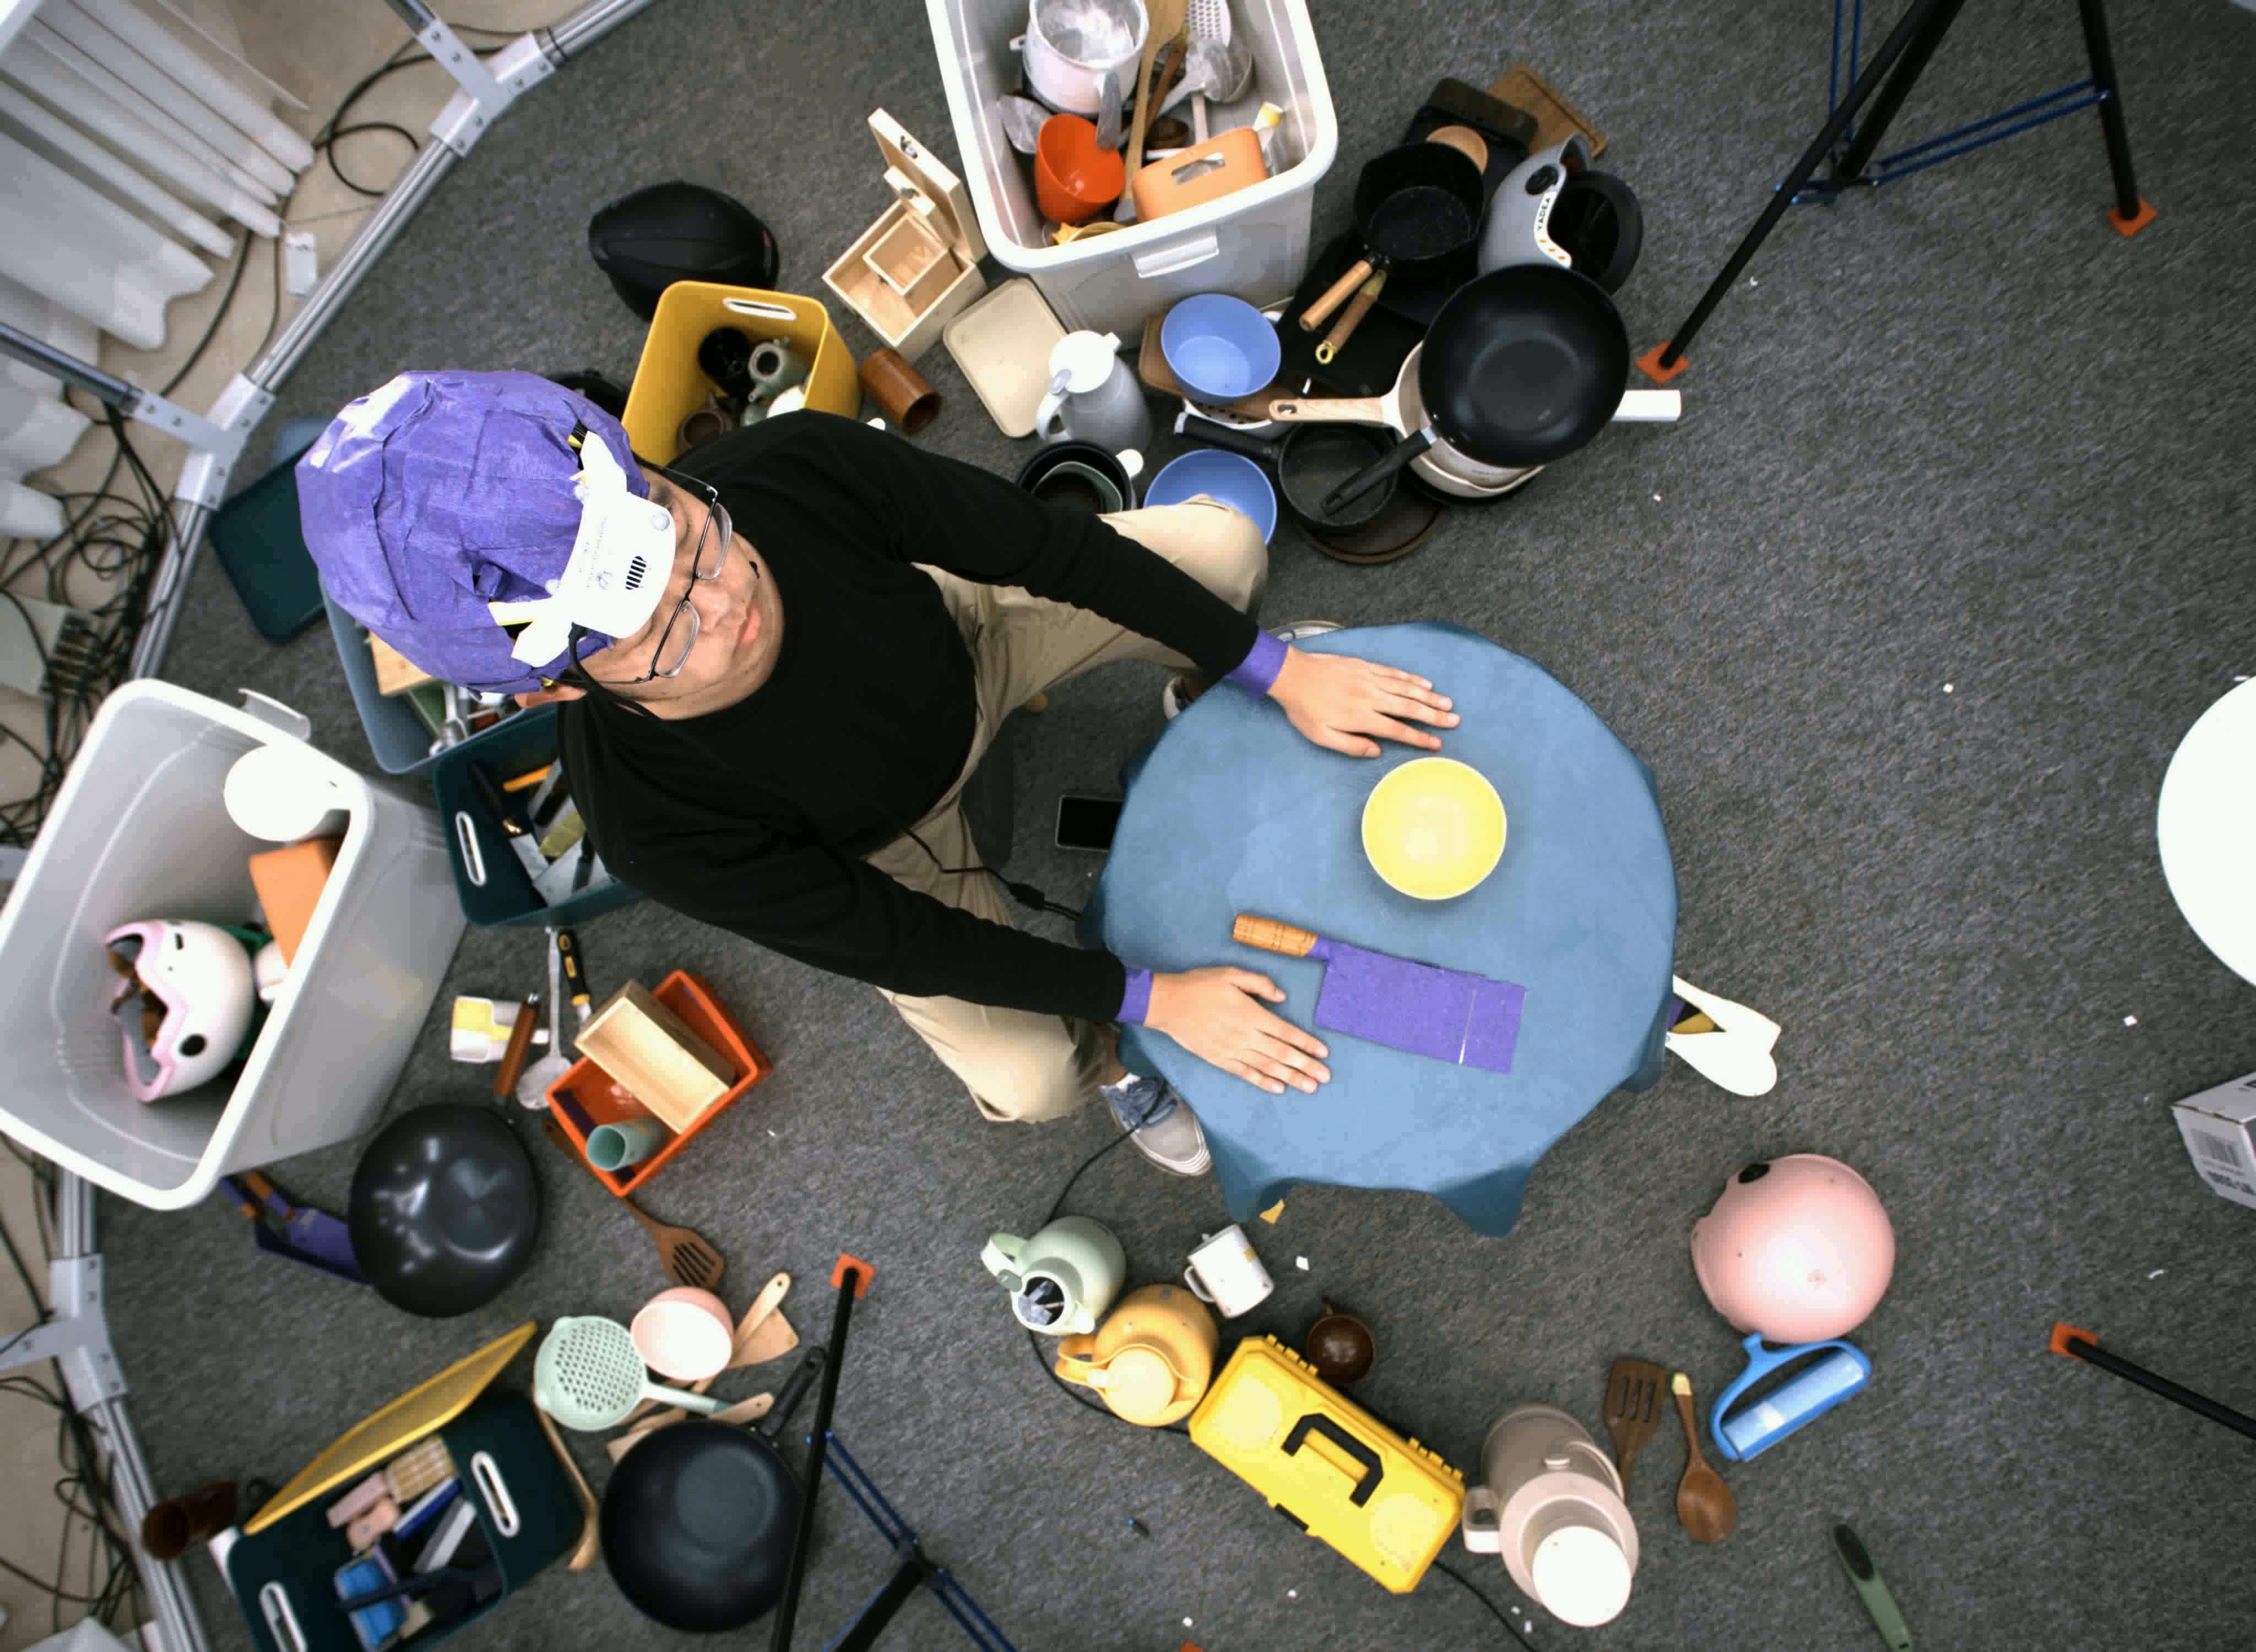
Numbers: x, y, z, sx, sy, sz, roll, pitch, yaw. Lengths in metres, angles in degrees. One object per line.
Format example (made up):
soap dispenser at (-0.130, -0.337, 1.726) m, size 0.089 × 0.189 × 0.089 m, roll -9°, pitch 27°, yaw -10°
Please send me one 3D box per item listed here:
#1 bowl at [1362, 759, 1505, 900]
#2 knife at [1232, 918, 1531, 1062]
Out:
bowl at (0.314, 0.005, 1.425) m, size 0.146 × 0.060 × 0.144 m, roll -1°, pitch 85°, yaw 10°
knife at (0.256, 0.172, 1.446) m, size 0.316 × 0.032 × 0.103 m, roll 13°, pitch 89°, yaw 11°
